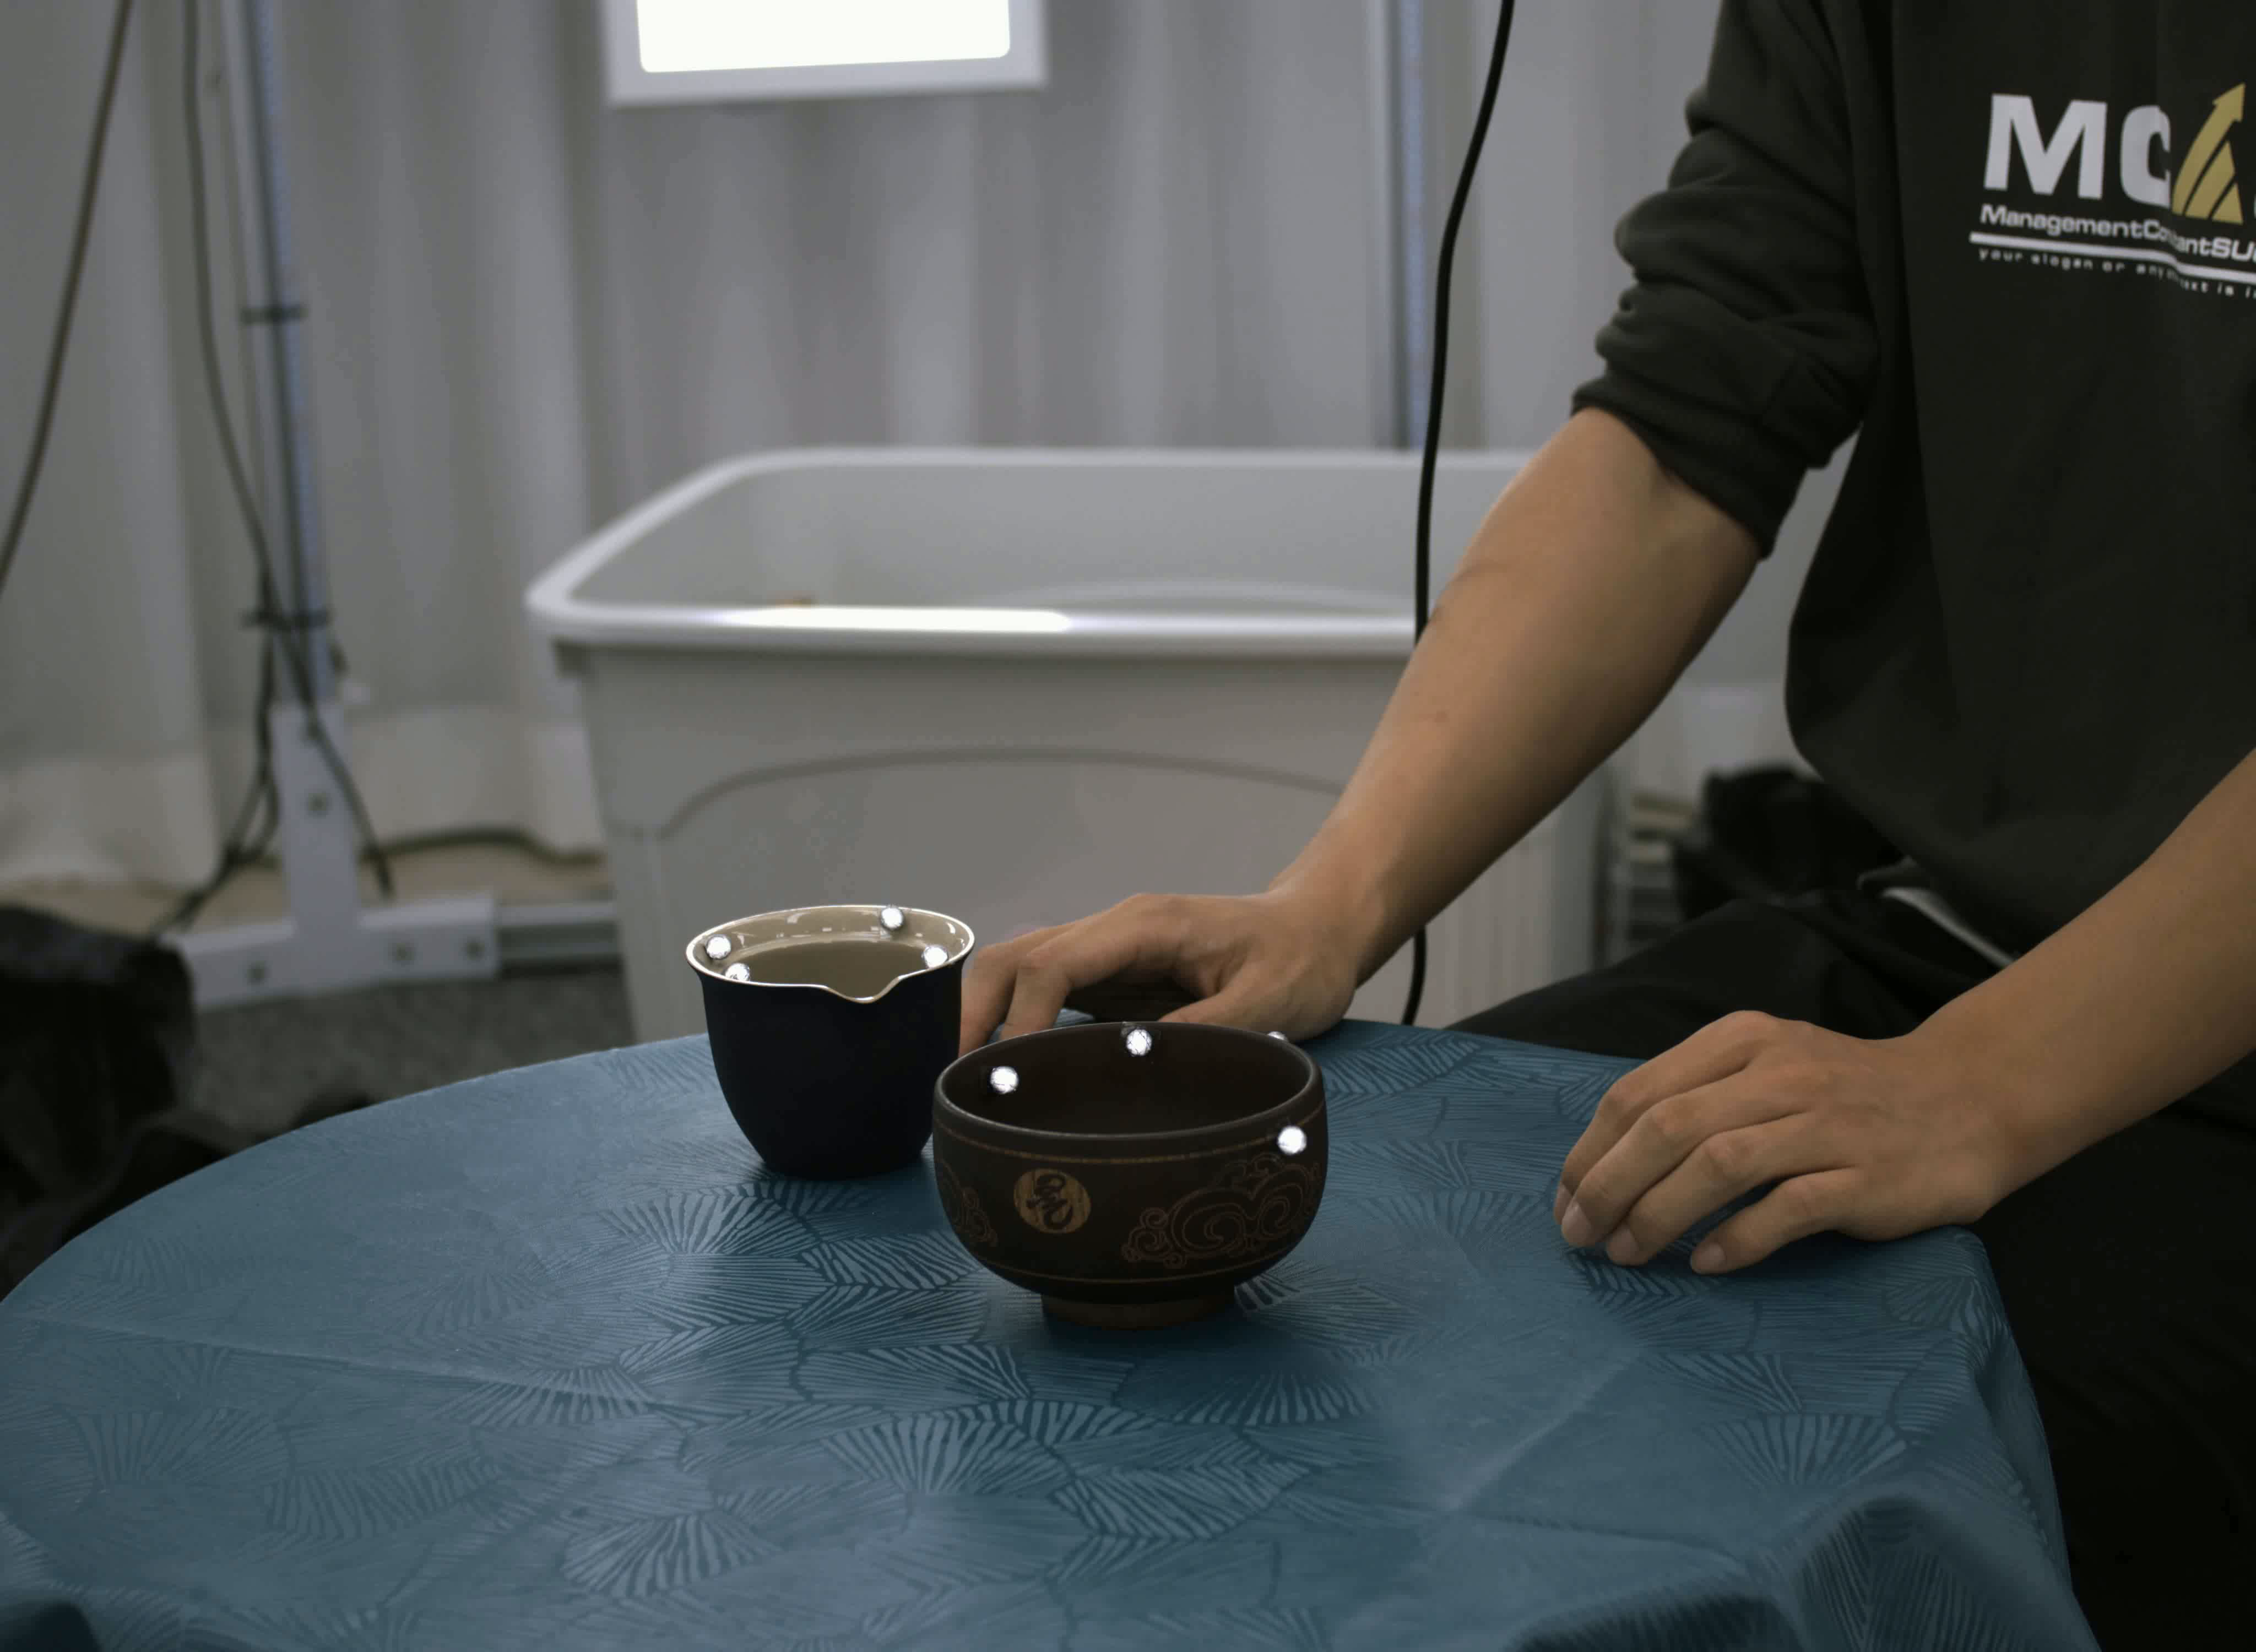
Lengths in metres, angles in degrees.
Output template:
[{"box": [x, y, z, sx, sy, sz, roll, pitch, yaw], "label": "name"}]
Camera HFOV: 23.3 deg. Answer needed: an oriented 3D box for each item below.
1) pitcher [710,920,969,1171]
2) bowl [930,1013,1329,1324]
[{"box": [-0.091, 0.071, 1.754, 0.083, 0.071, 0.096, -3, 14, -8], "label": "pitcher"}, {"box": [0.002, 0.105, 1.616, 0.117, 0.069, 0.119, -4, 15, 1], "label": "bowl"}]
